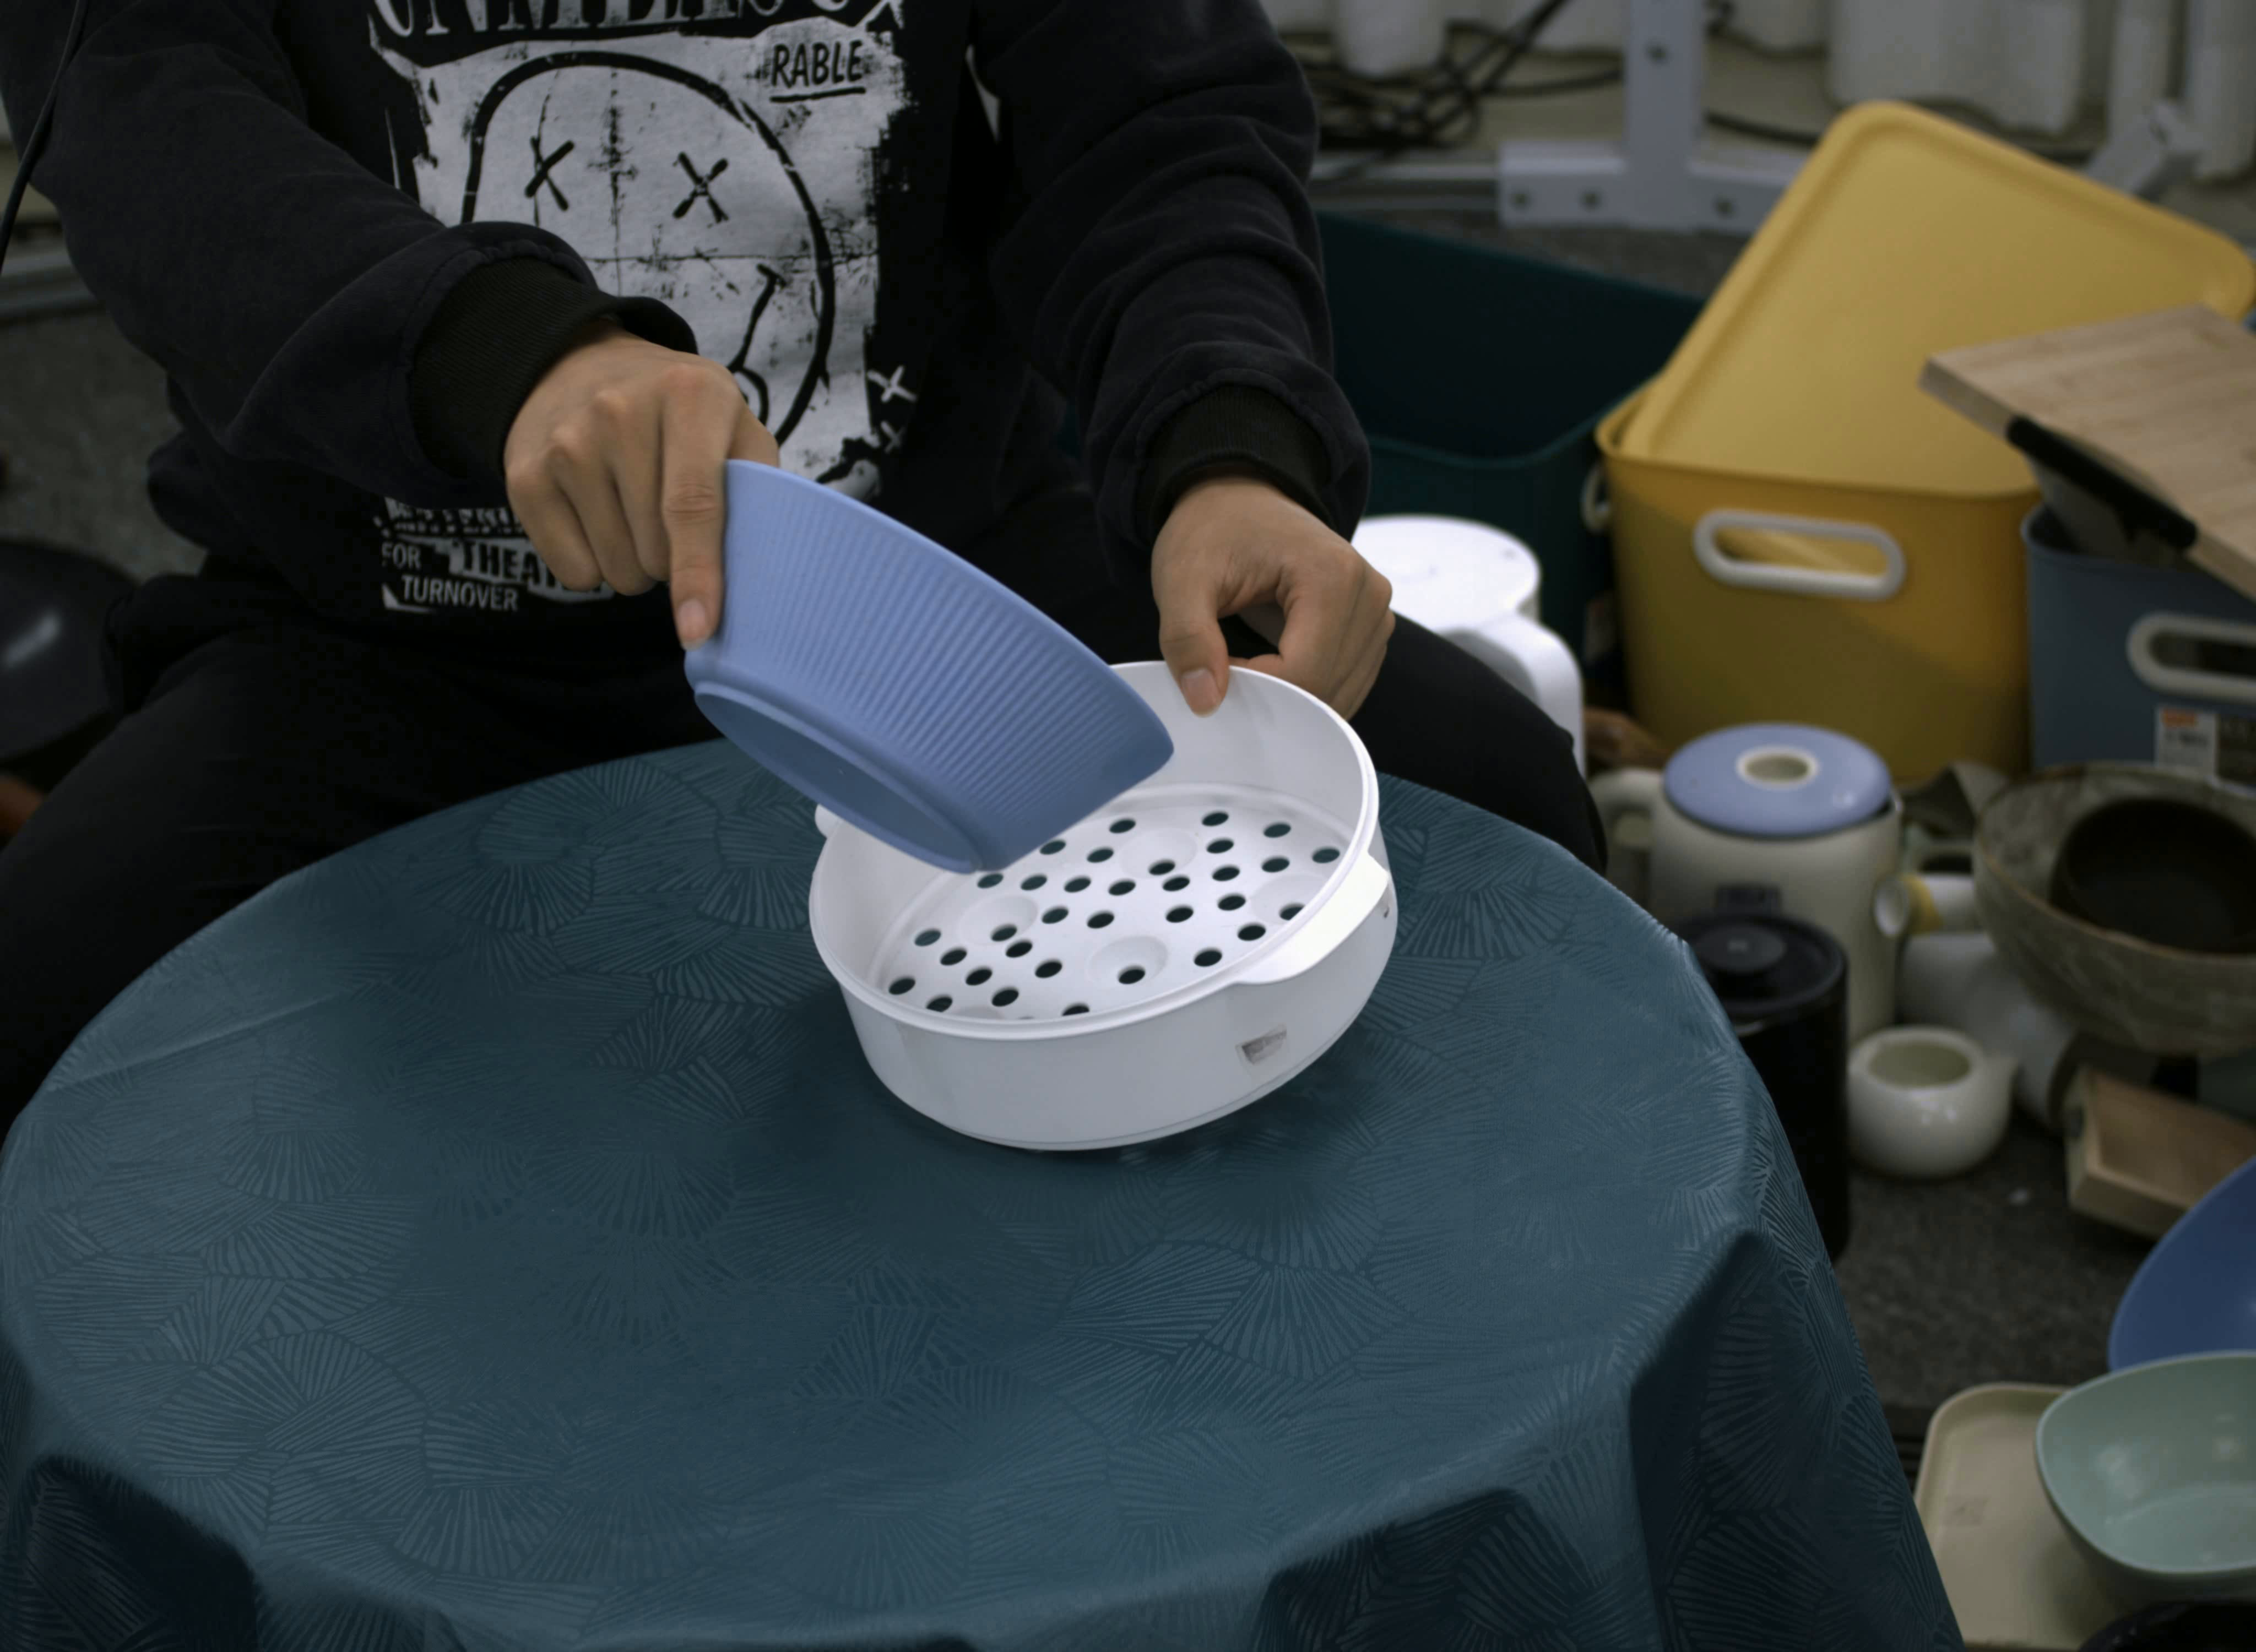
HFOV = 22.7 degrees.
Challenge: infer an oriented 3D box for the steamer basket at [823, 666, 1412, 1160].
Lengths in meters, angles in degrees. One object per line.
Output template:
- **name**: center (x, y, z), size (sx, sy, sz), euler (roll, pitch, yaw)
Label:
- **steamer basket**: center (-0.001, 0.030, 1.931), size (0.230, 0.068, 0.205), euler (19, 47, 36)

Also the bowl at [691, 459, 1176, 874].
- **bowl**: center (-0.075, -0.042, 1.819), size (0.176, 0.174, 0.071), euler (22, 74, 39)
